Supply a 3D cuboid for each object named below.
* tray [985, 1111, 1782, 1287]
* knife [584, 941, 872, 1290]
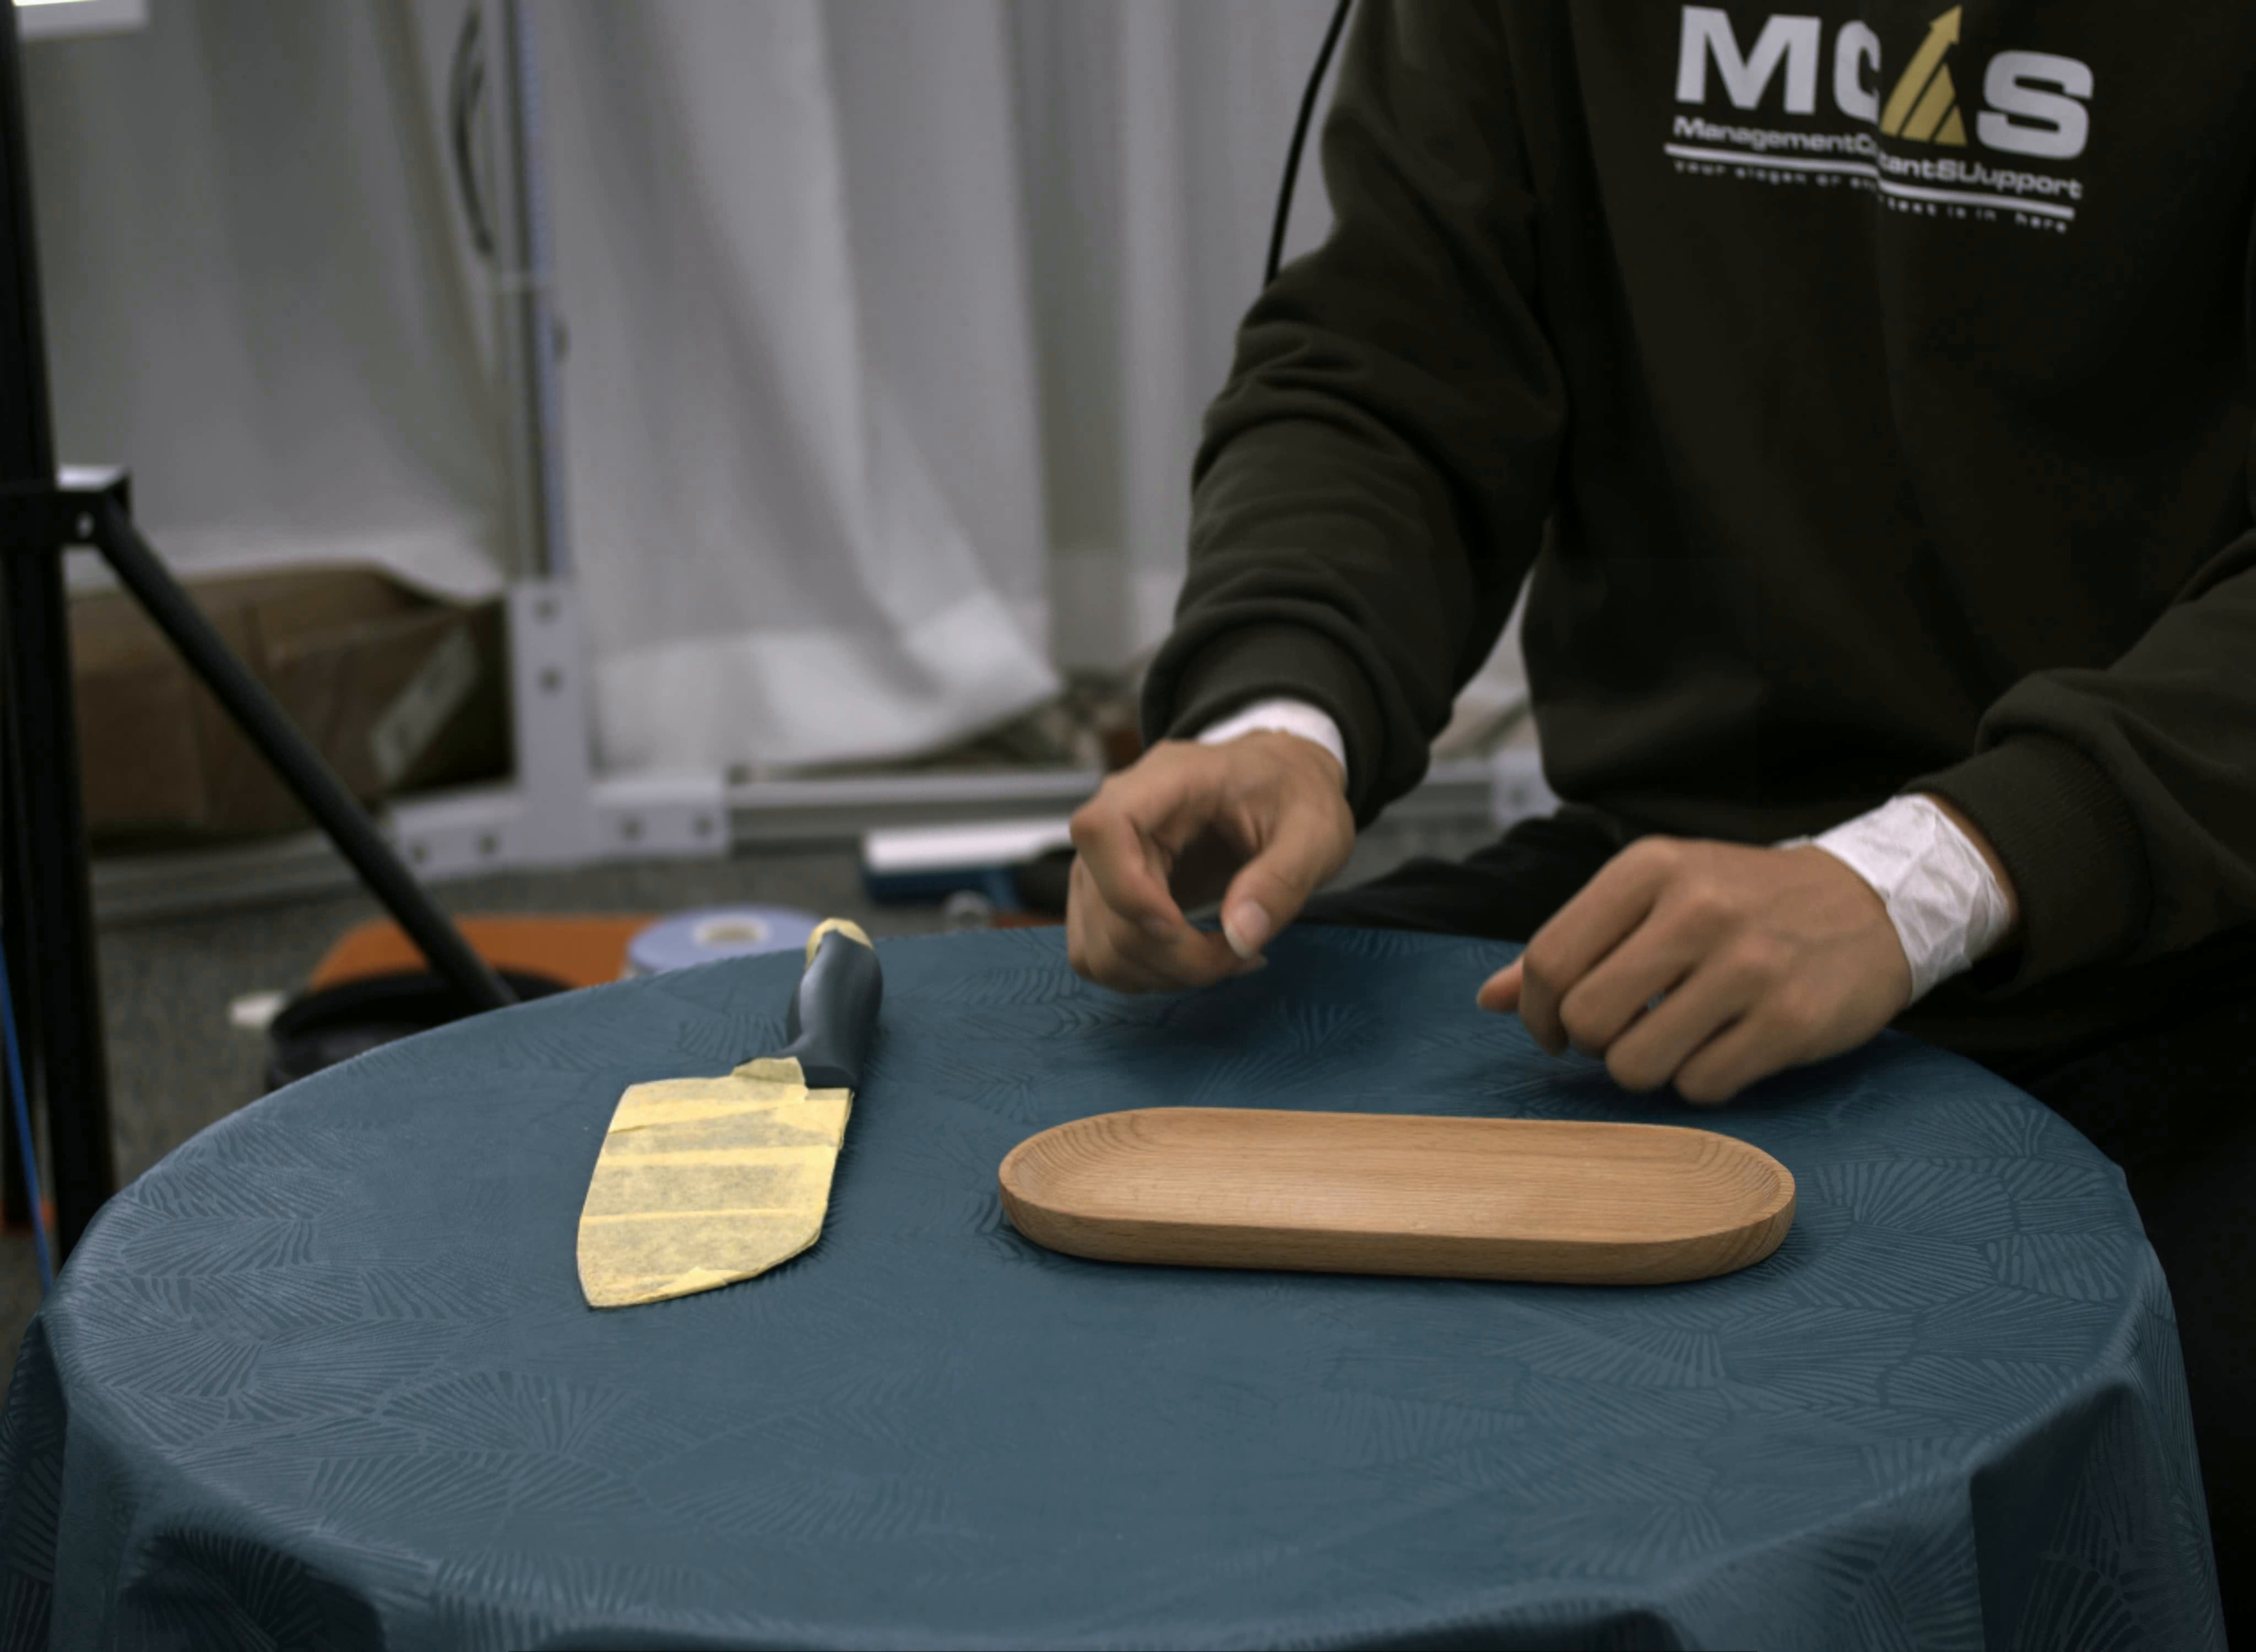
[{"bbox_3d":[0.073,0.107,1.524,0.233,0.020,0.101,0,14,15],"label":"tray"},{"bbox_3d":[-0.119,0.088,1.625,0.081,0.027,0.289,0,17,5],"label":"knife"}]
